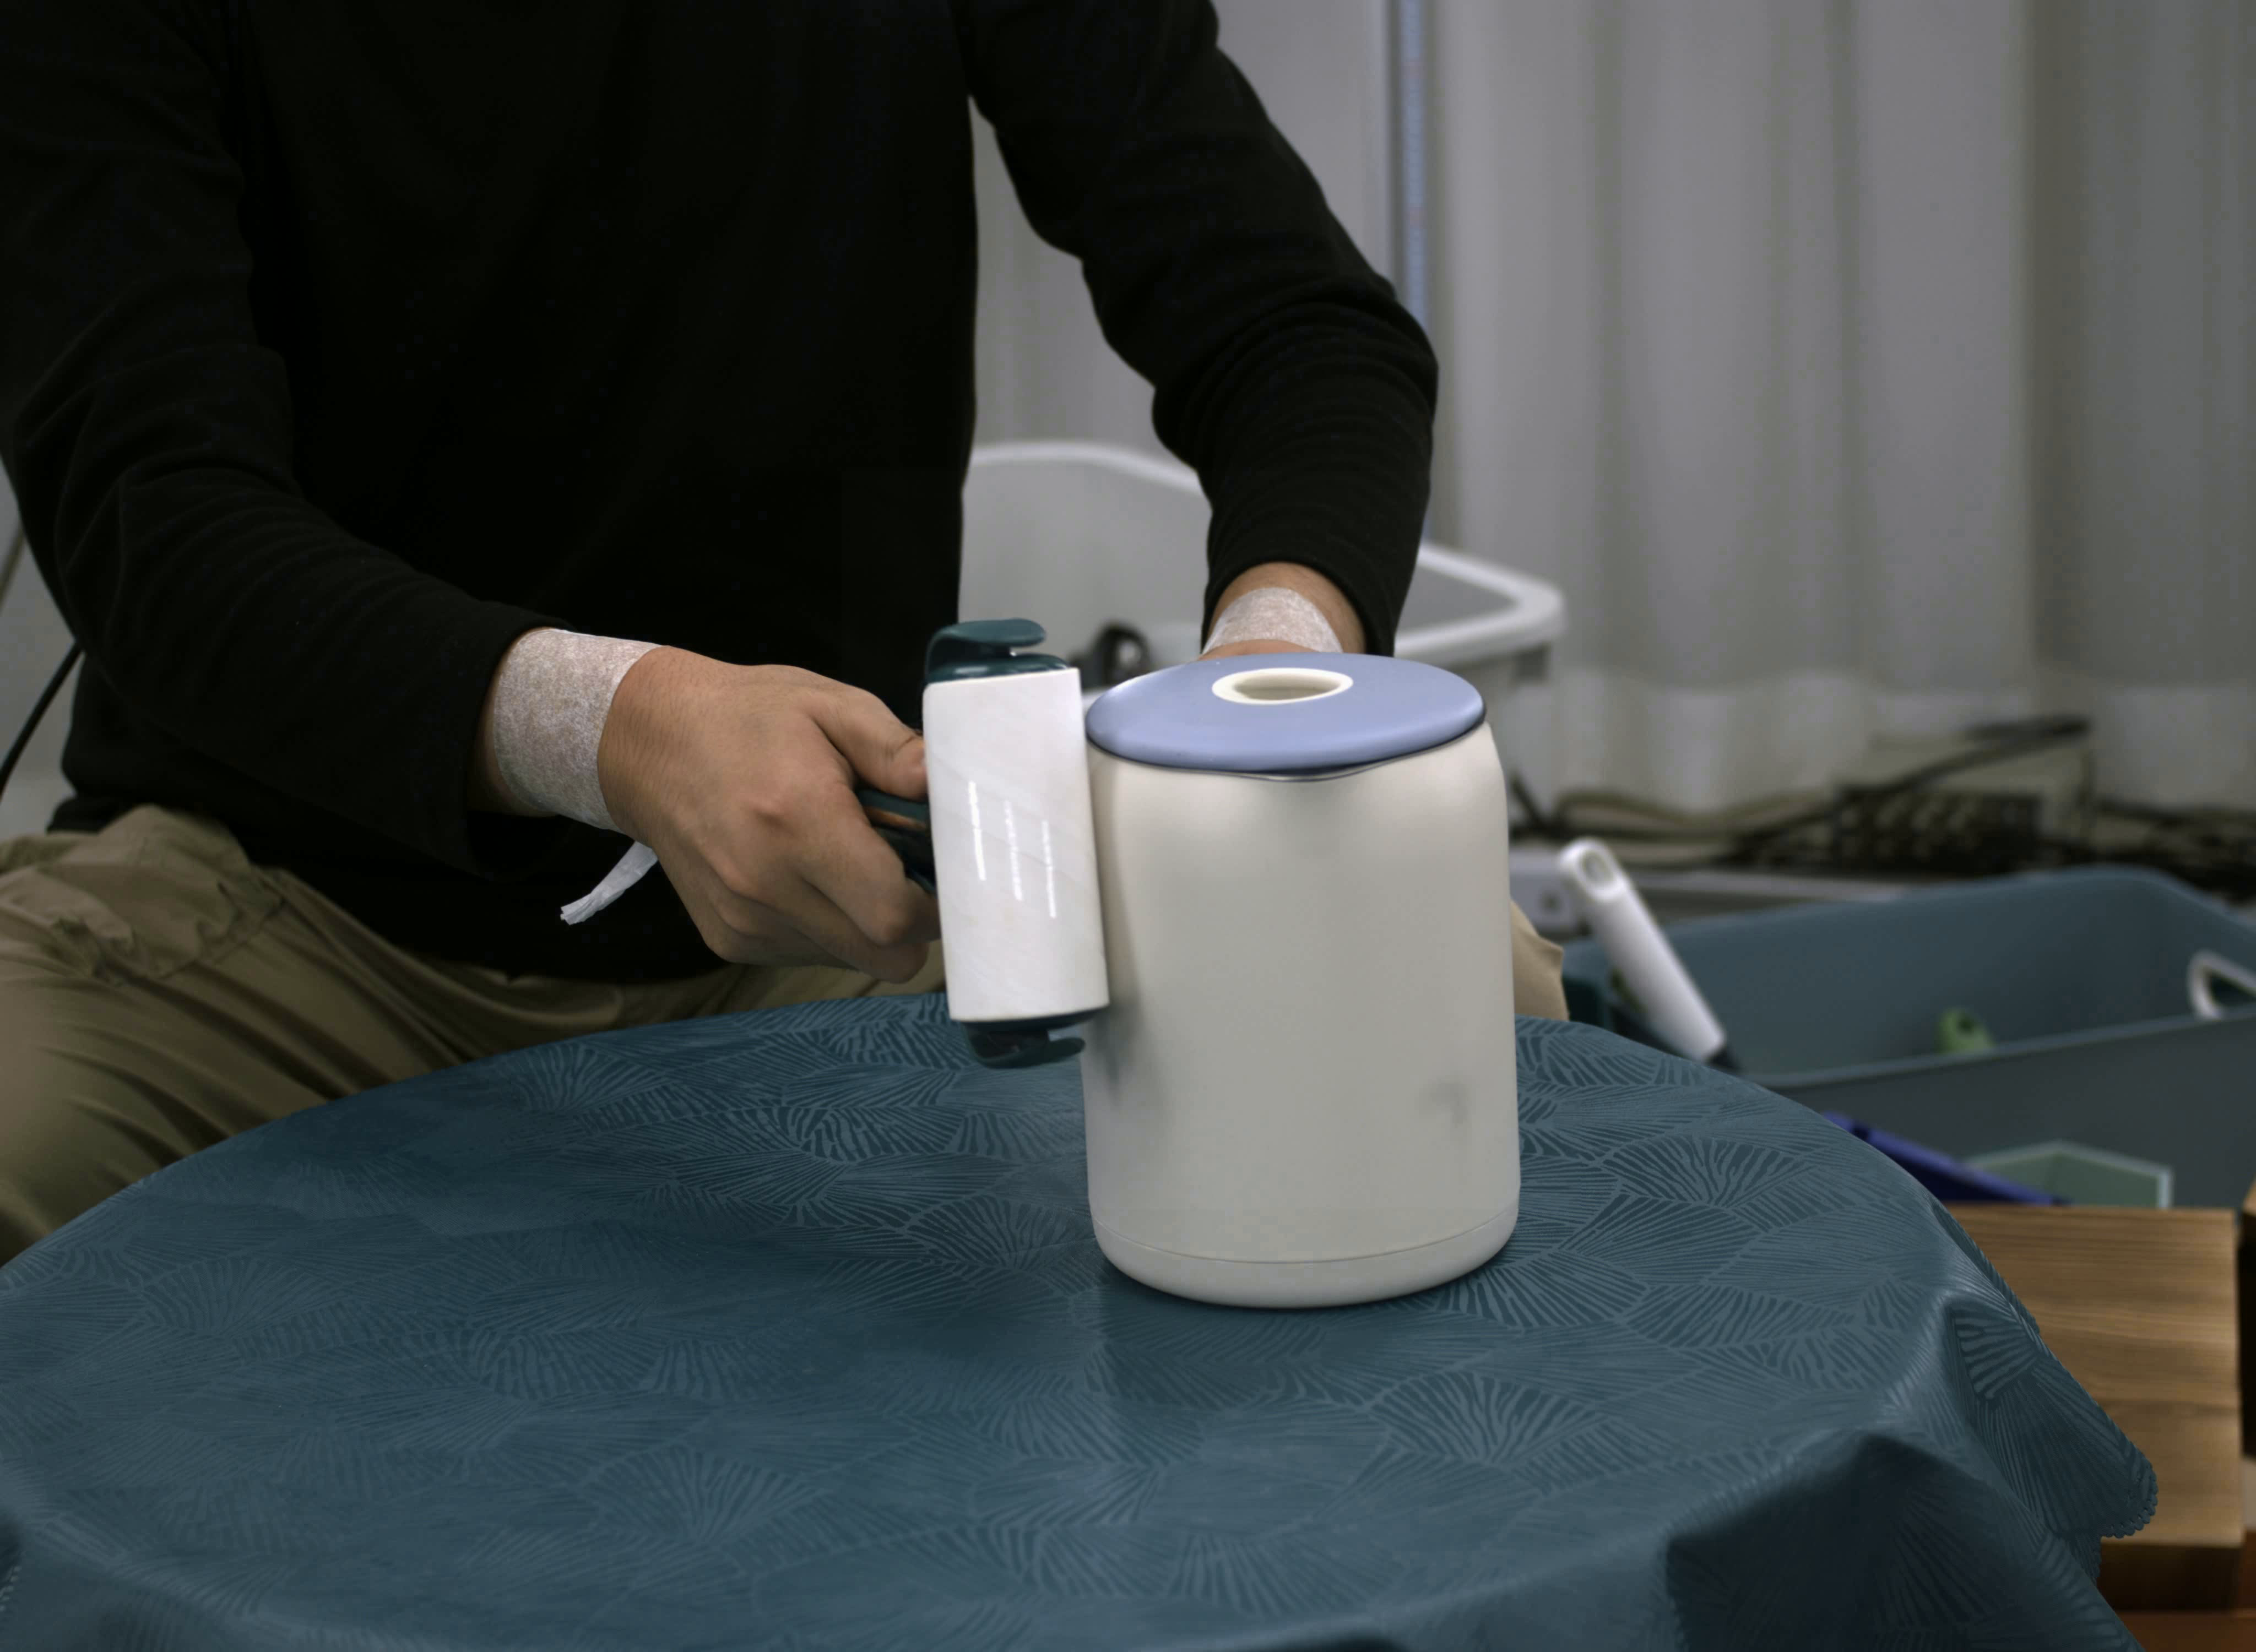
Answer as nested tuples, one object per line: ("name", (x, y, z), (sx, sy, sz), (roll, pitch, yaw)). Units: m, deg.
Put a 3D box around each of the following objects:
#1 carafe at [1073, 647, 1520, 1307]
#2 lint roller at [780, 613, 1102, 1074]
("carafe", (0.046, 0.038, 1.661), (0.131, 0.182, 0.192), (-4, 12, -7))
("lint roller", (-0.073, 0.007, 1.650), (0.048, 0.135, 0.180), (-5, 1, -35))
